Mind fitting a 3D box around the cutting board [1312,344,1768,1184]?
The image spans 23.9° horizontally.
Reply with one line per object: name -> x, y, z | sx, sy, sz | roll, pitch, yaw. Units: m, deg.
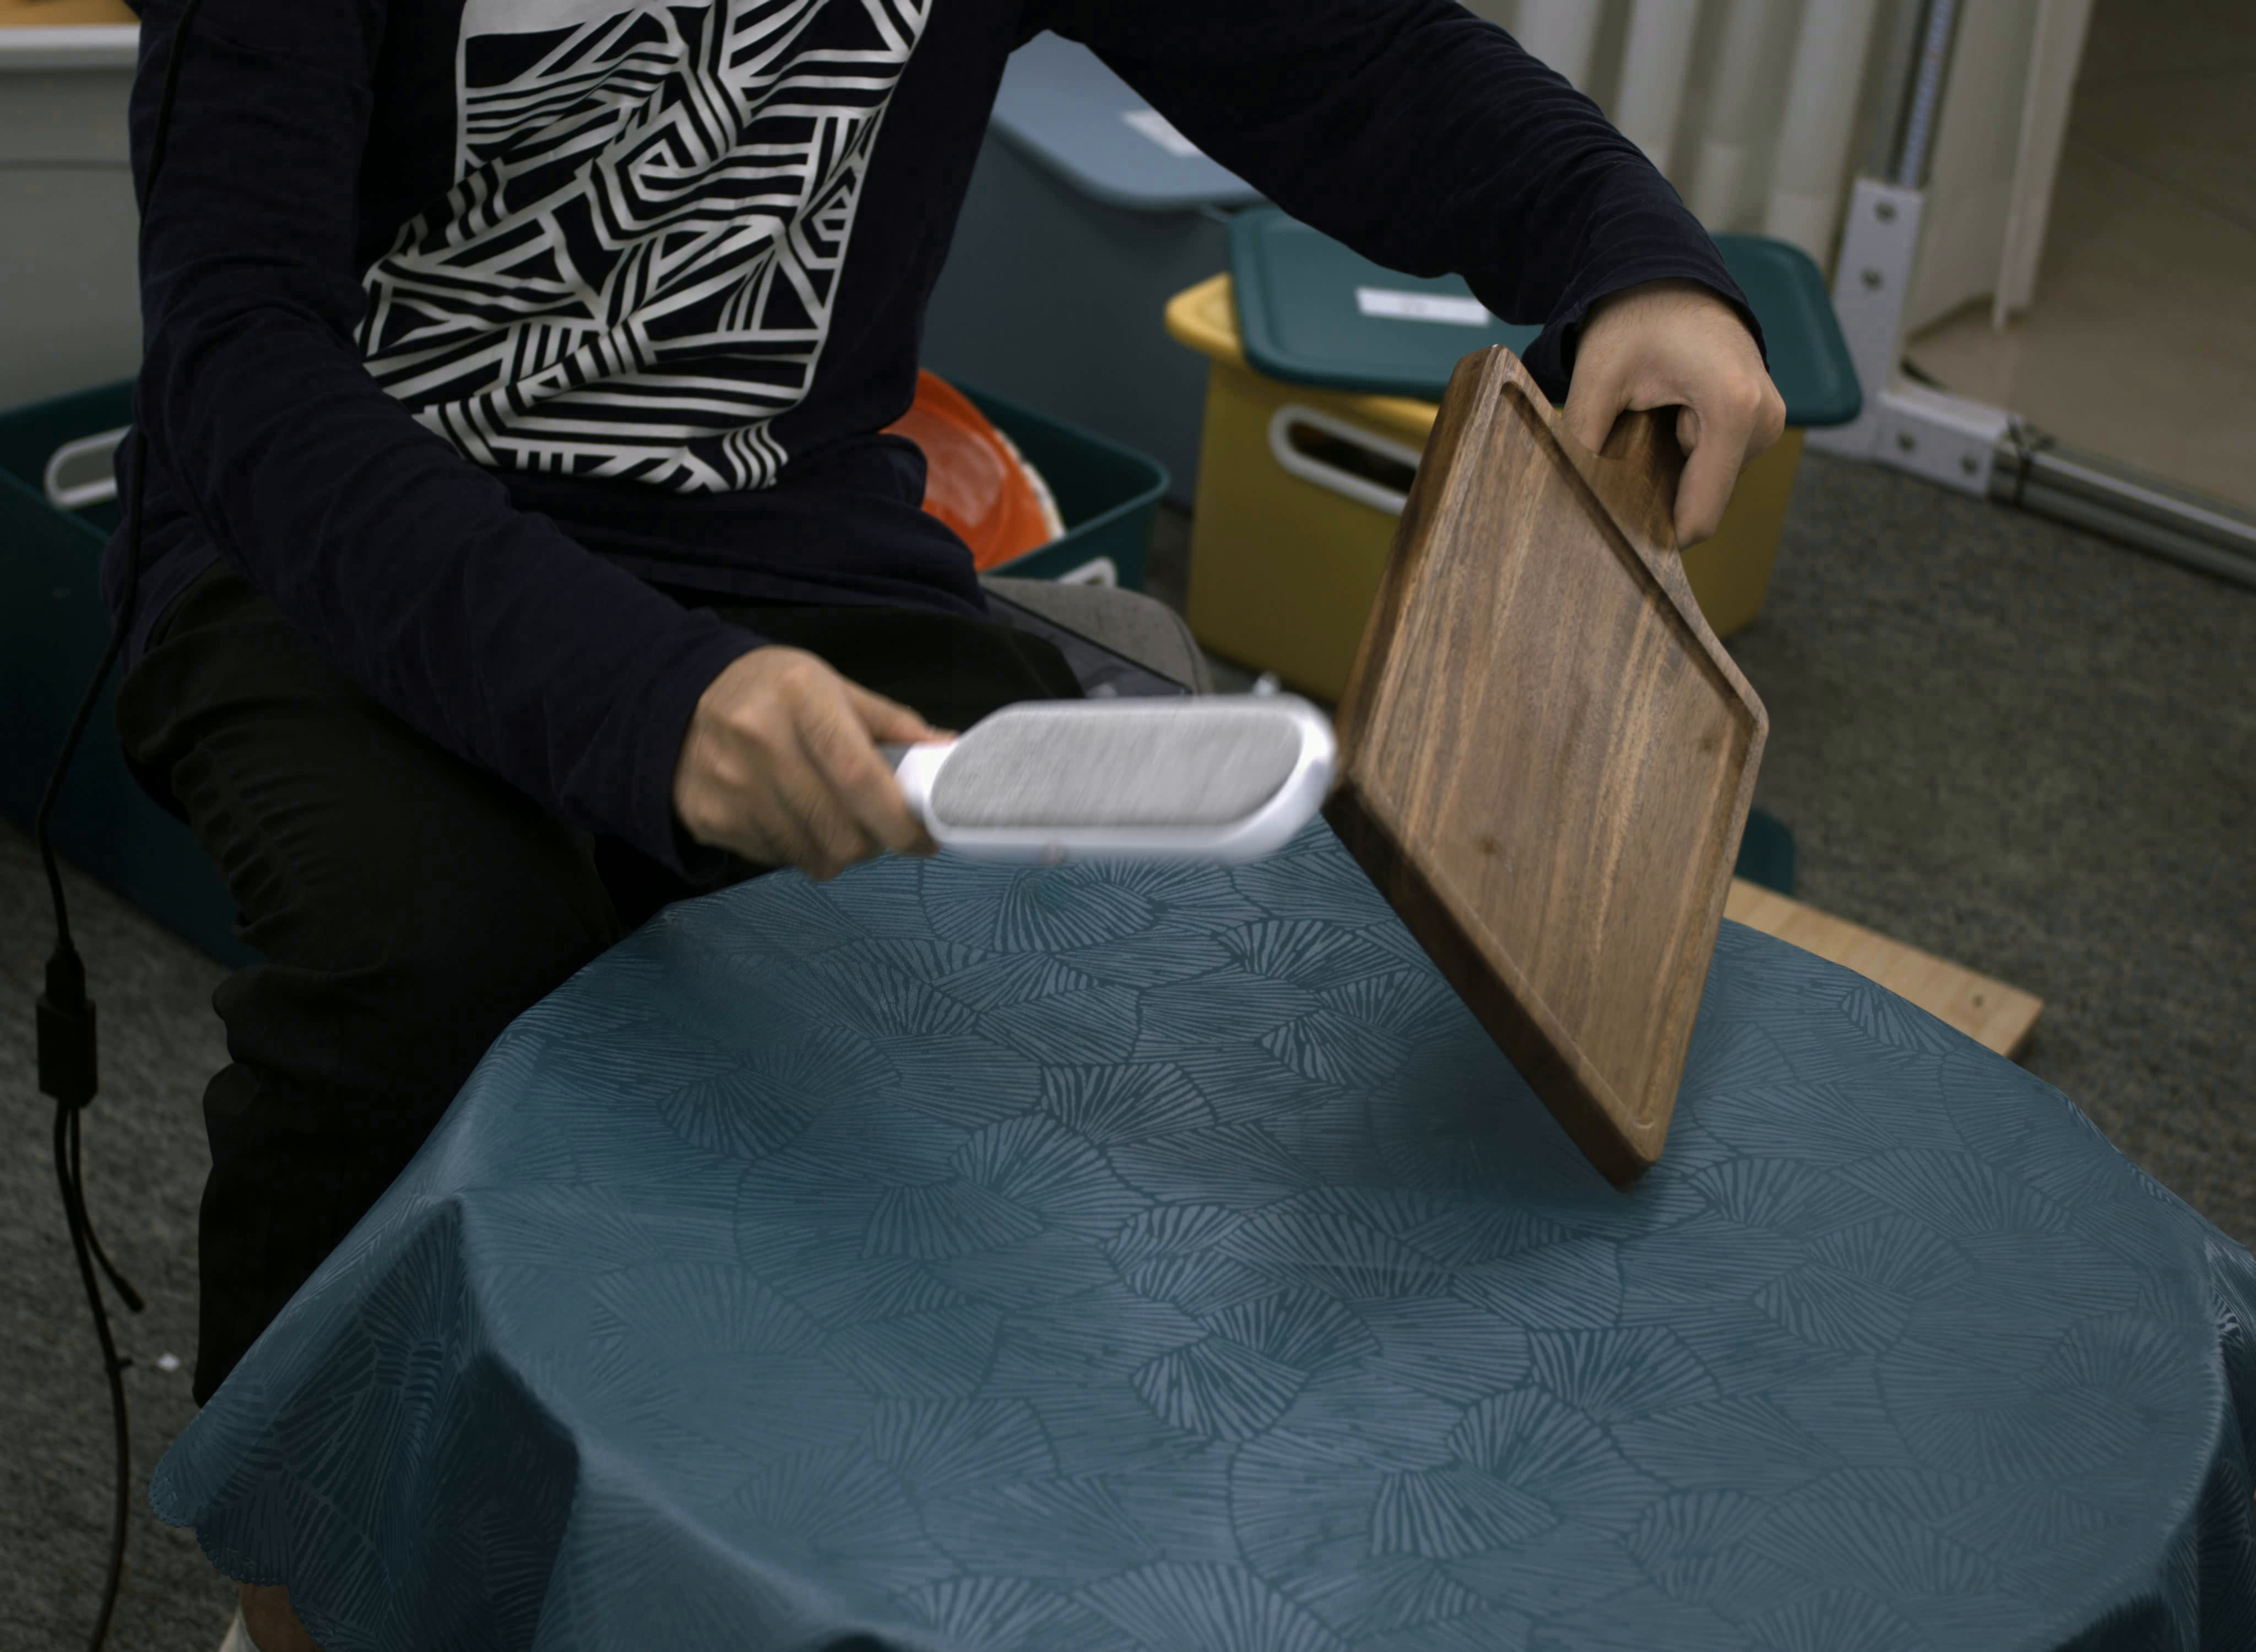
cutting board -> 0.162, -0.057, 1.908 | 0.023, 0.199, 0.354 | -22, 31, 33

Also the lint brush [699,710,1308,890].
lint brush -> -0.048, -0.011, 1.783 | 0.021, 0.060, 0.310 | 37, -22, -35
